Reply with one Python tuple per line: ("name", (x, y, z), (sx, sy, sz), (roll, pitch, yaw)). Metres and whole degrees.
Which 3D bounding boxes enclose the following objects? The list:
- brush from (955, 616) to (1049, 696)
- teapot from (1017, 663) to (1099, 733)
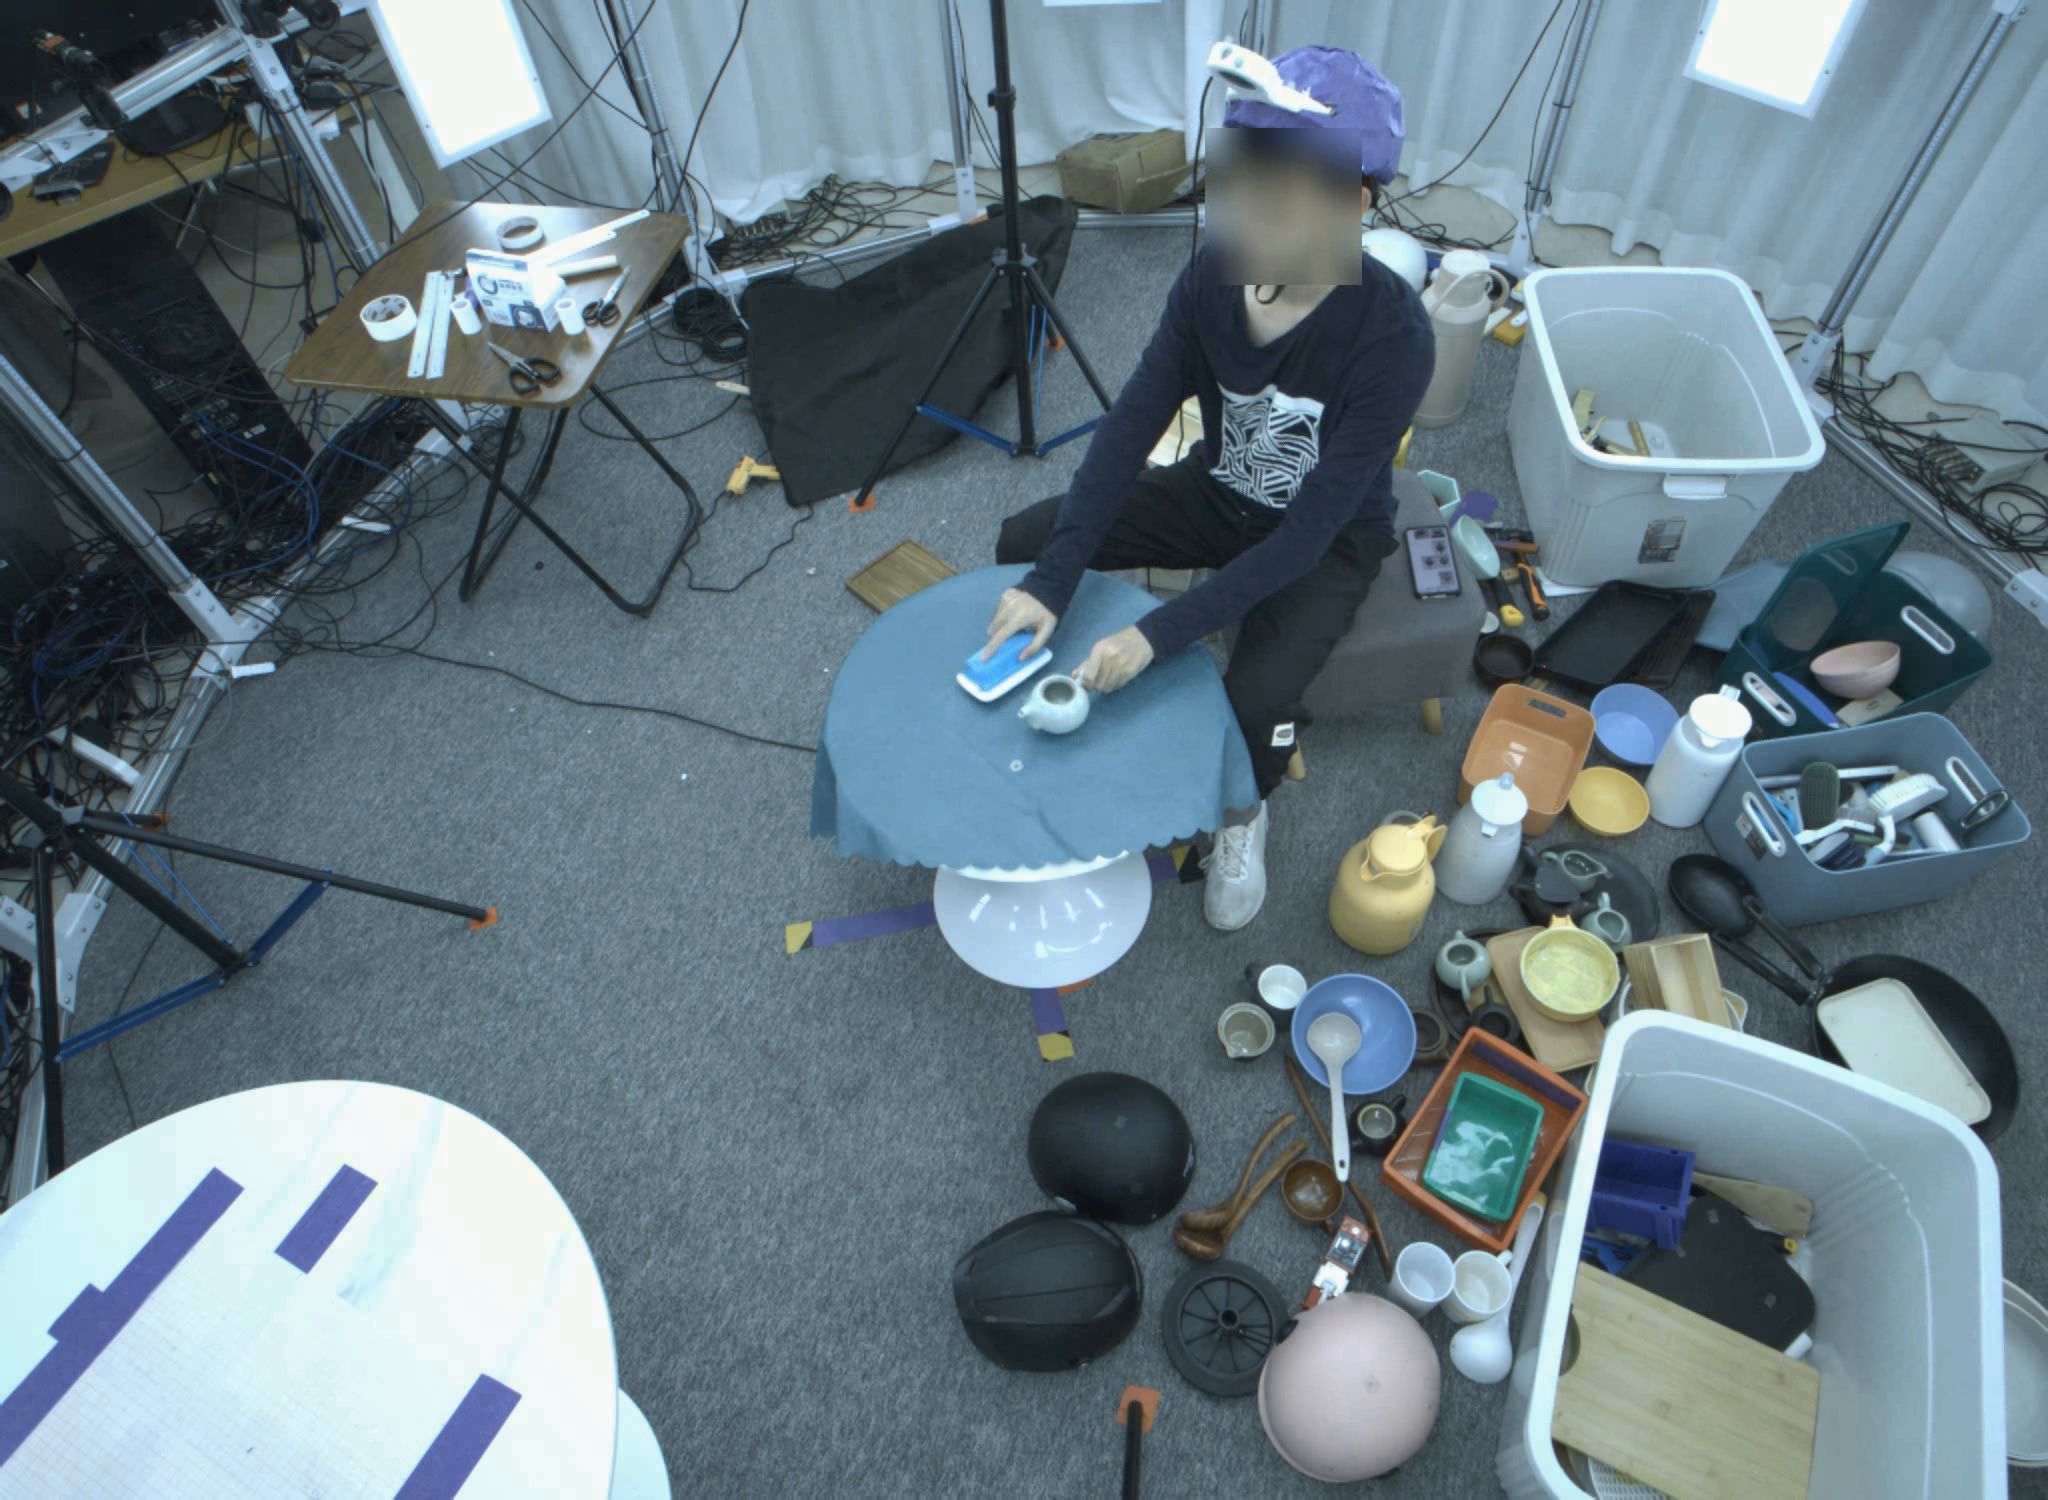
("brush", (-0.034, -0.150, 1.835), (0.082, 0.056, 0.145), (34, 65, 24))
("teapot", (0.051, -0.068, 1.781), (0.145, 0.075, 0.086), (-33, 58, -16))
